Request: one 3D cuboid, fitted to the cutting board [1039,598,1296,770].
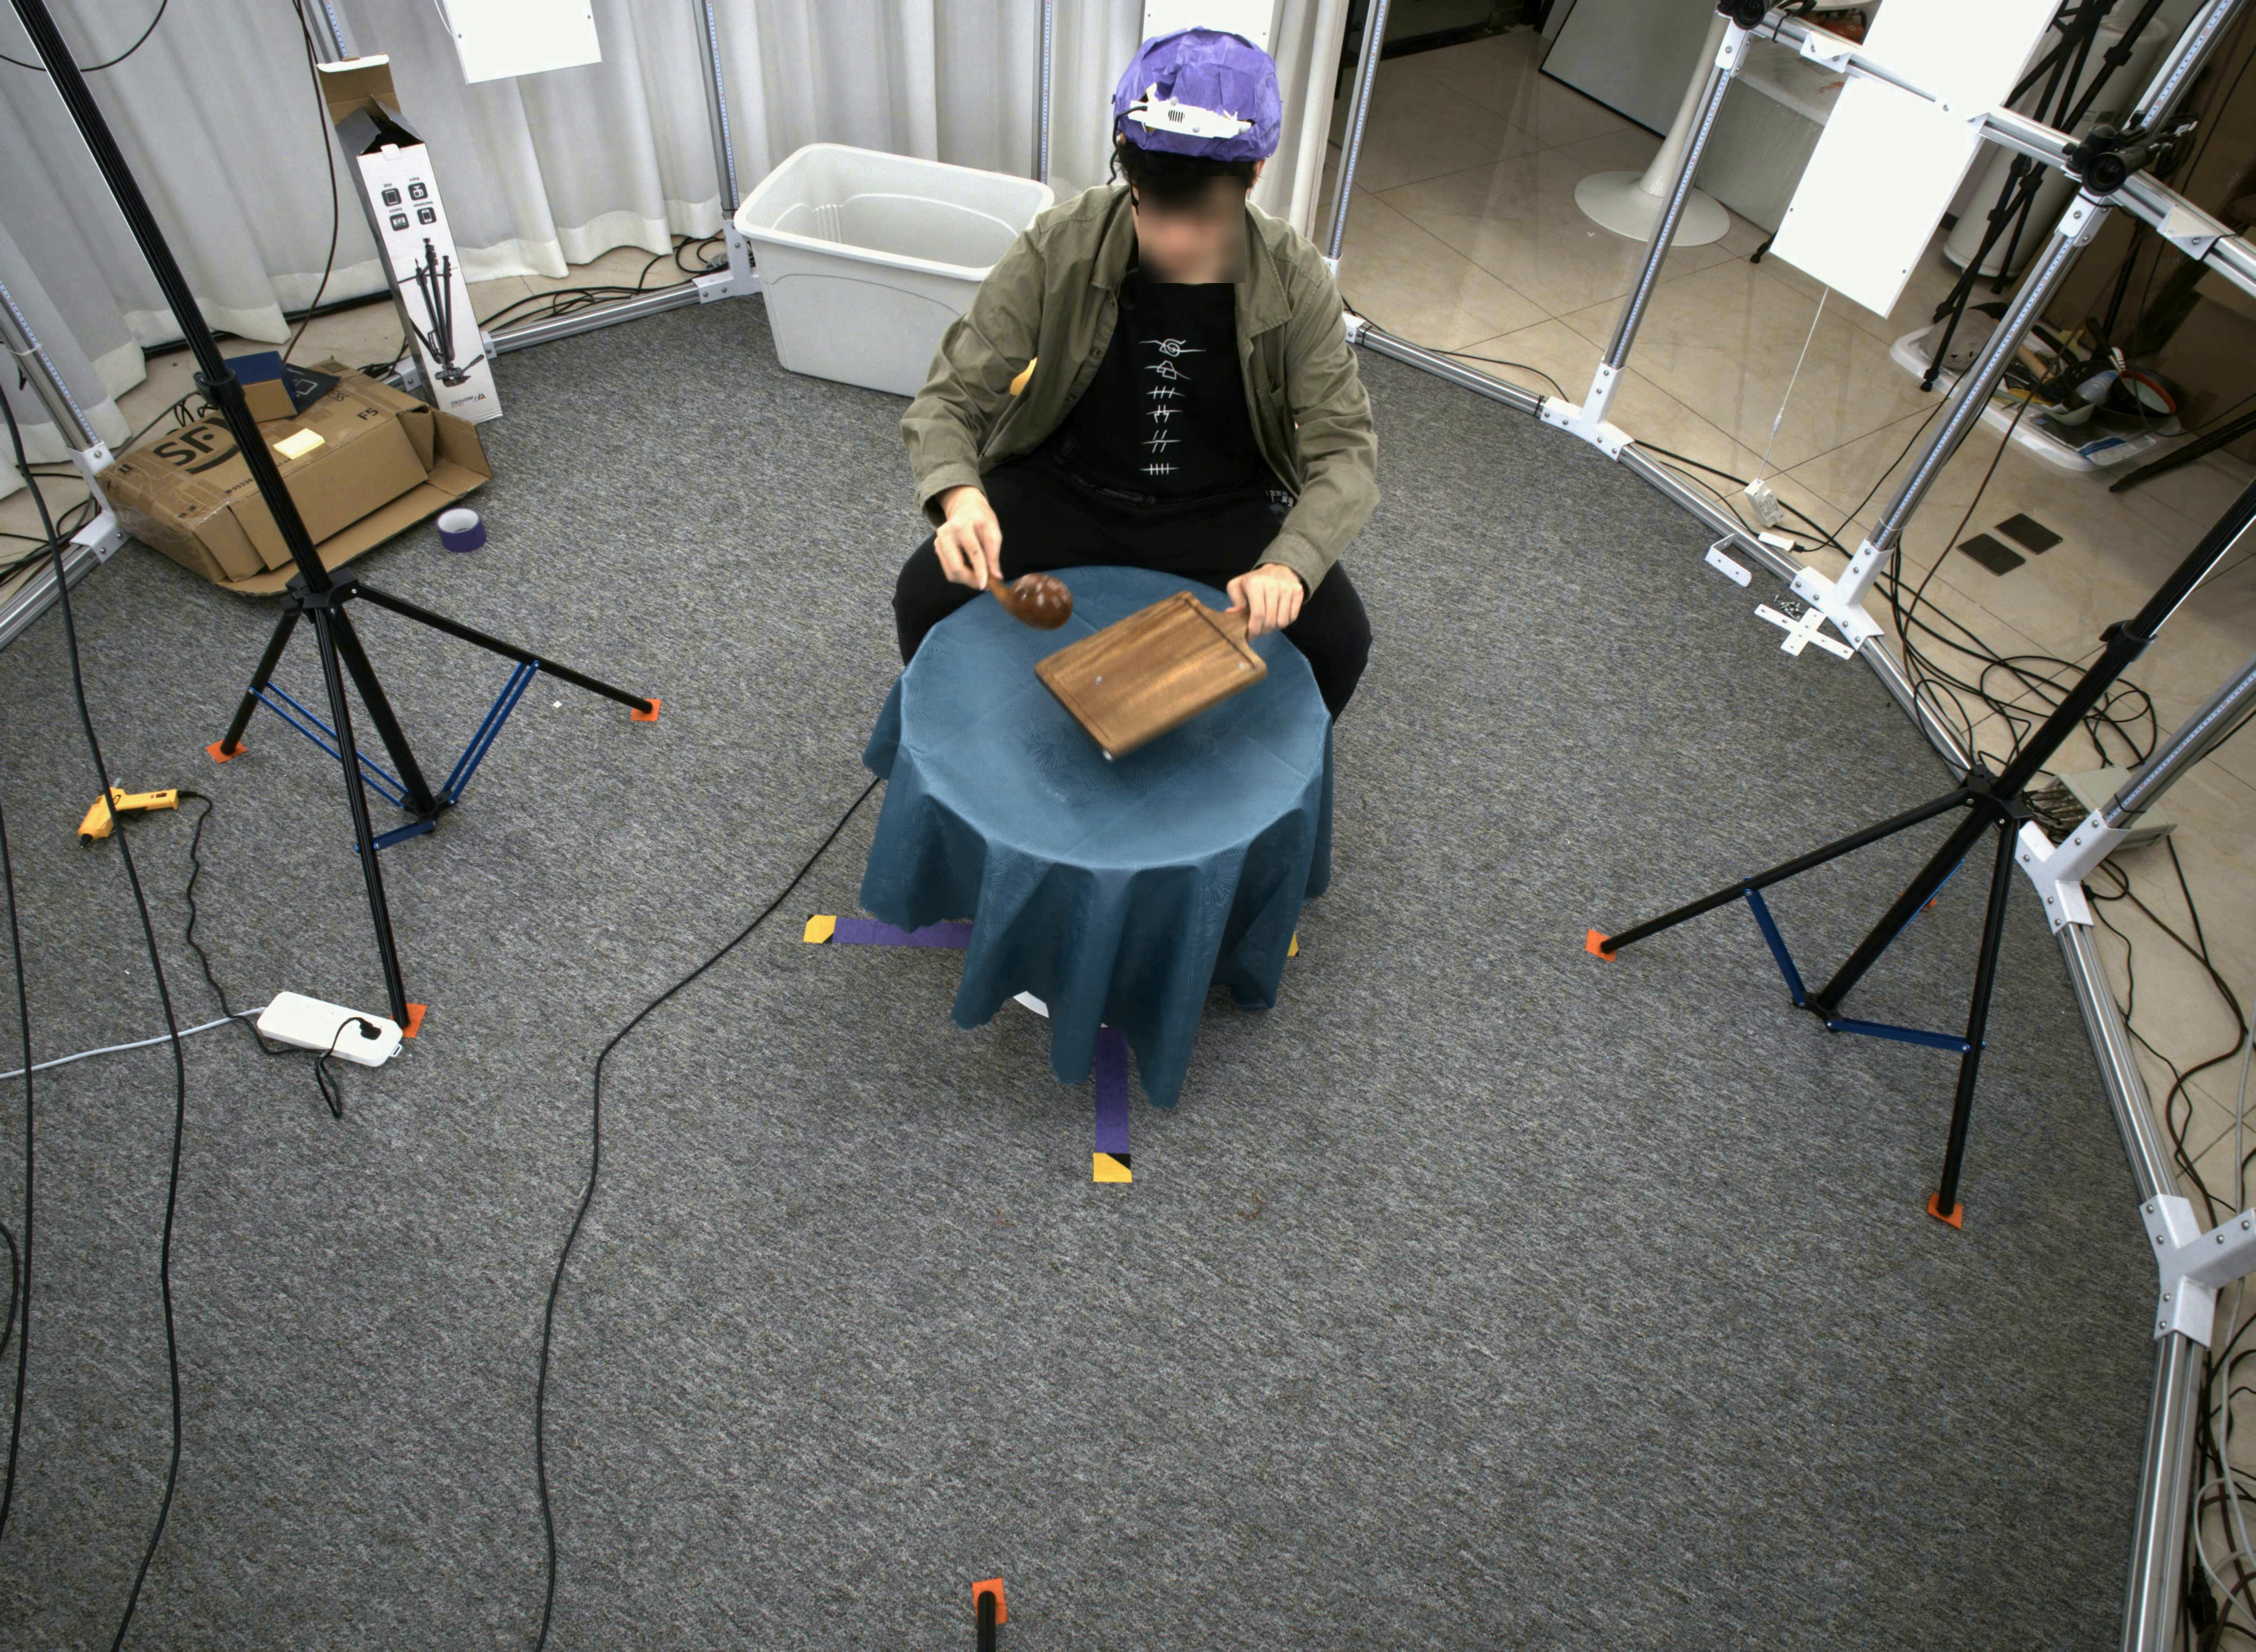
[{"bbox_3d":[0.079,-0.215,1.700,0.353,0.022,0.205,-29,54,-17],"label":"cutting board"}]

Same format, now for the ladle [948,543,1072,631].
[{"bbox_3d":[-0.157,-0.330,1.680,0.077,0.080,0.280,-25,38,-13],"label":"ladle"}]
